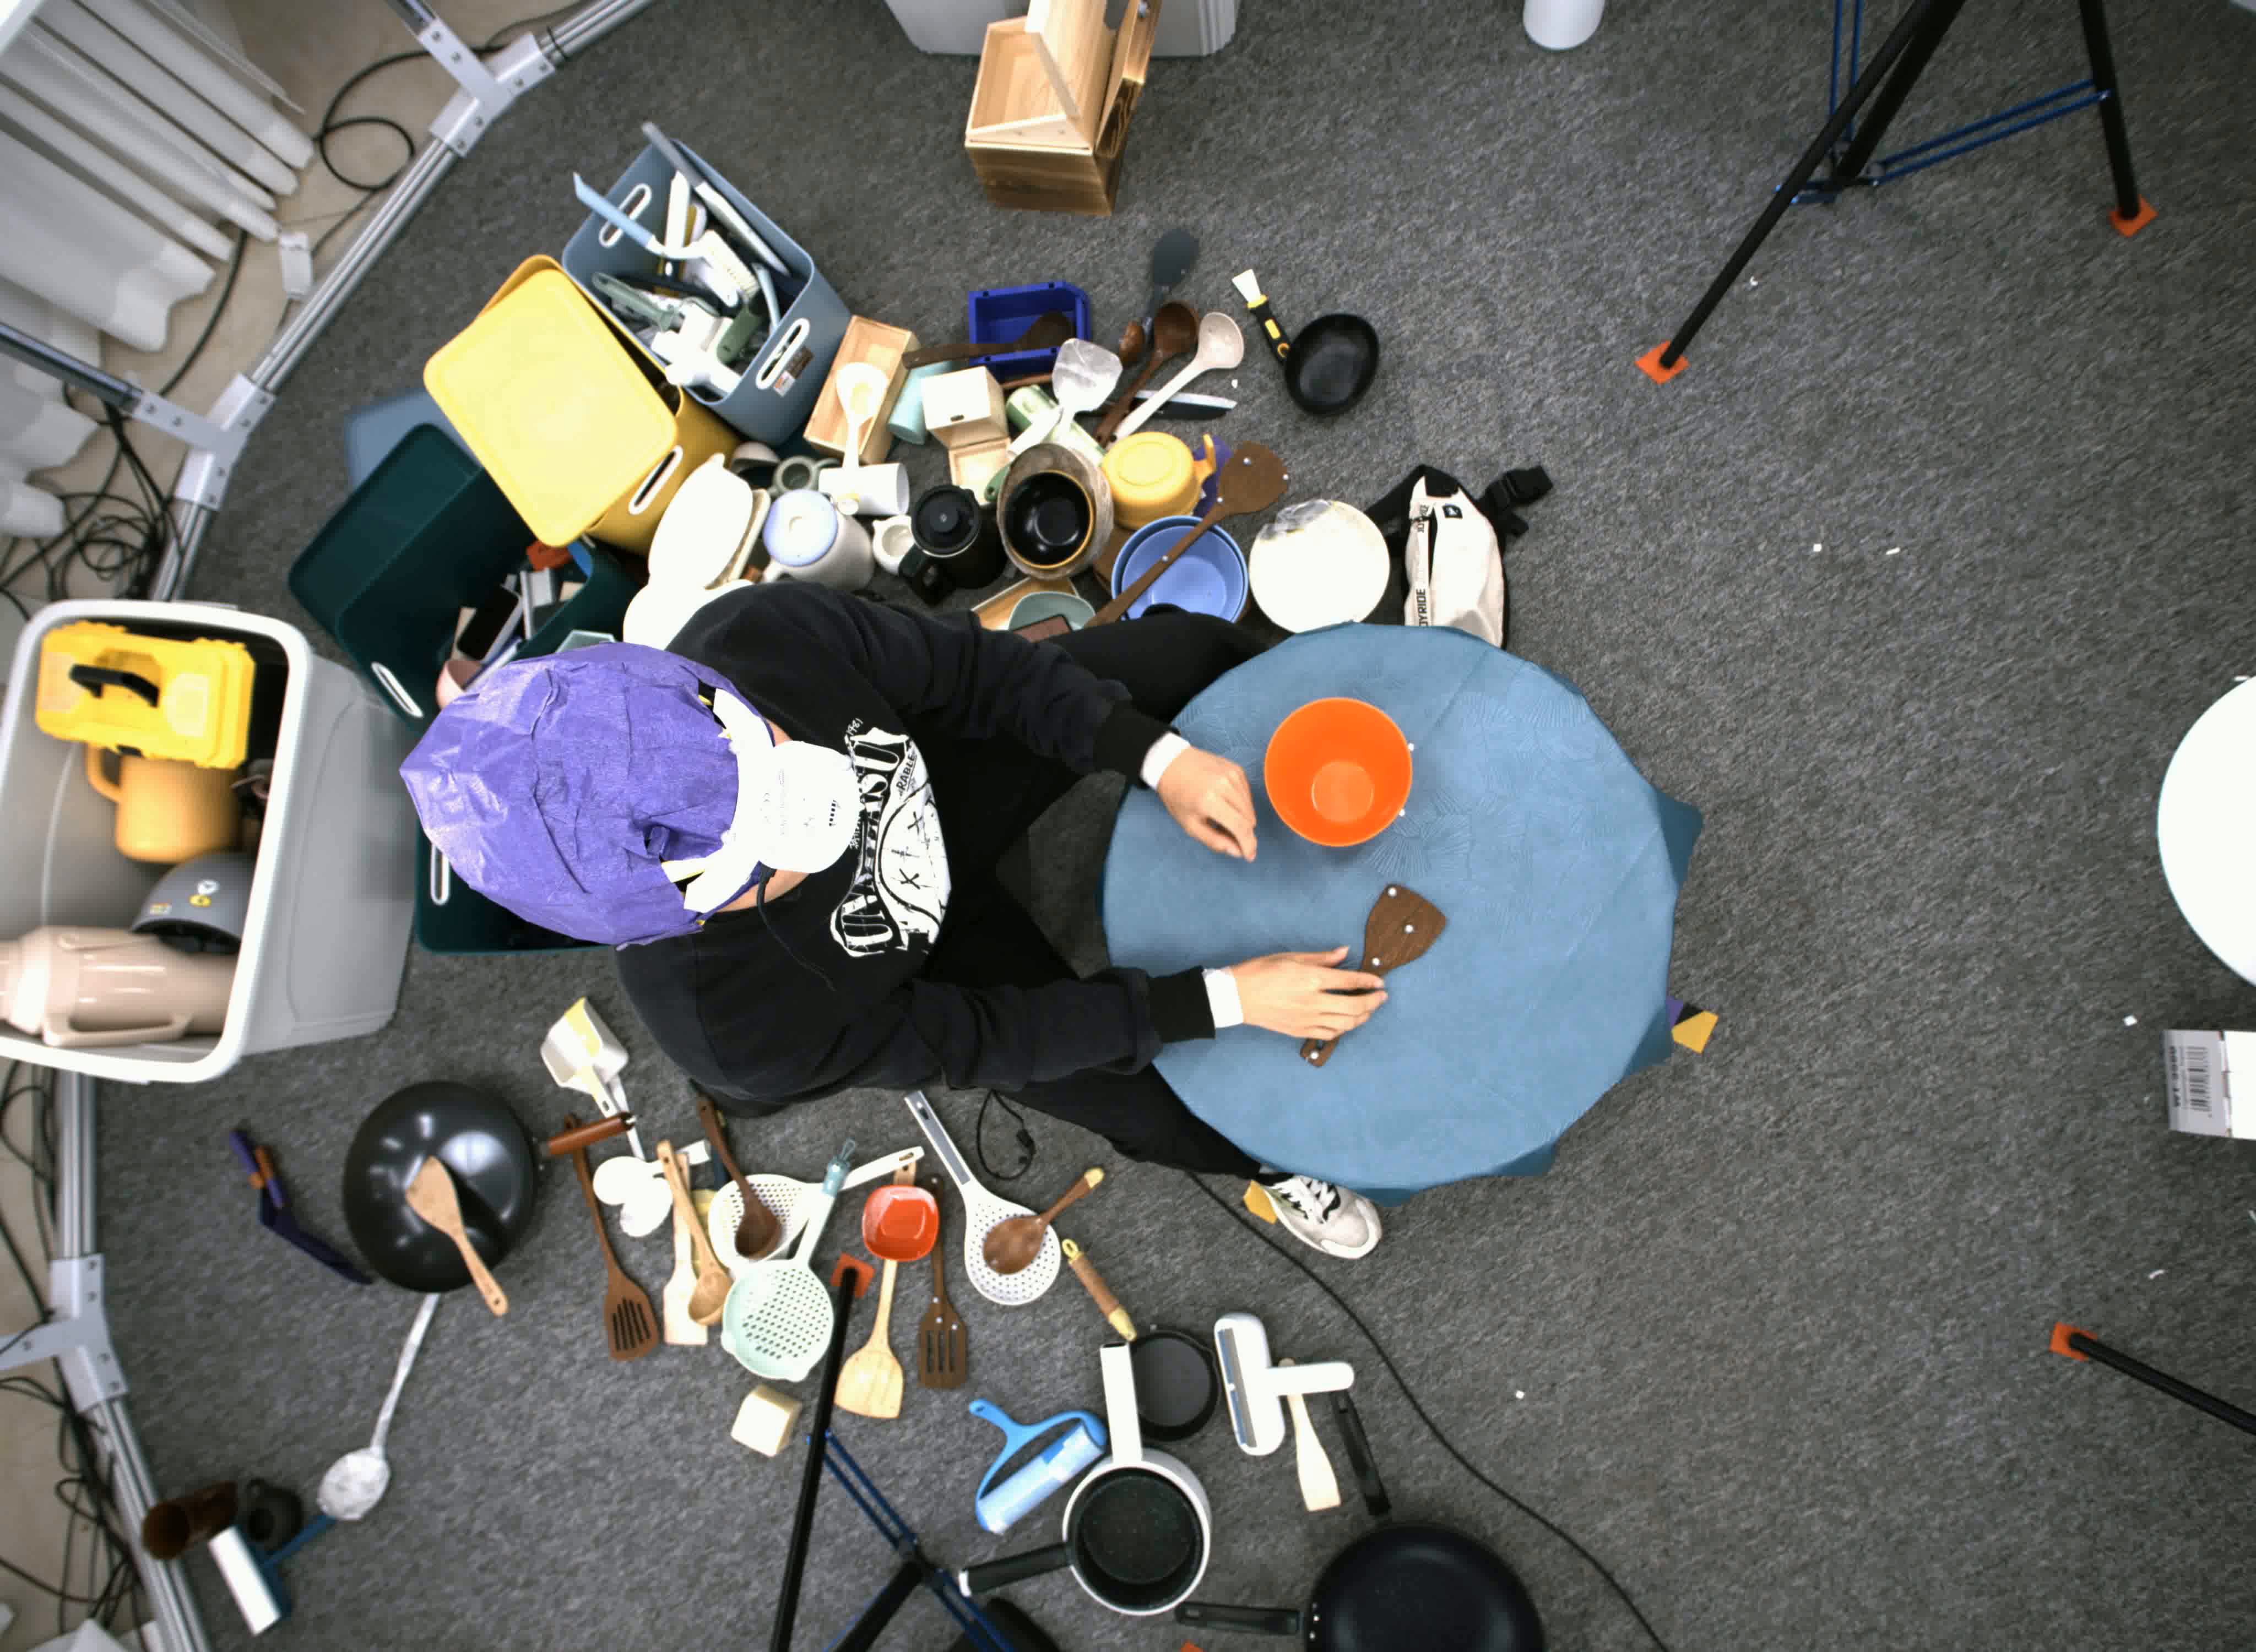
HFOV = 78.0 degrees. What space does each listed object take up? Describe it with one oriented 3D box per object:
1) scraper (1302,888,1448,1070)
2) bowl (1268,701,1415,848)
[{"bbox_3d":[0.251,0.164,1.458,0.075,0.011,0.212,35,93,12],"label":"scraper"},{"bbox_3d":[0.222,-0.048,1.431,0.148,0.105,0.147,-1,85,10],"label":"bowl"}]
